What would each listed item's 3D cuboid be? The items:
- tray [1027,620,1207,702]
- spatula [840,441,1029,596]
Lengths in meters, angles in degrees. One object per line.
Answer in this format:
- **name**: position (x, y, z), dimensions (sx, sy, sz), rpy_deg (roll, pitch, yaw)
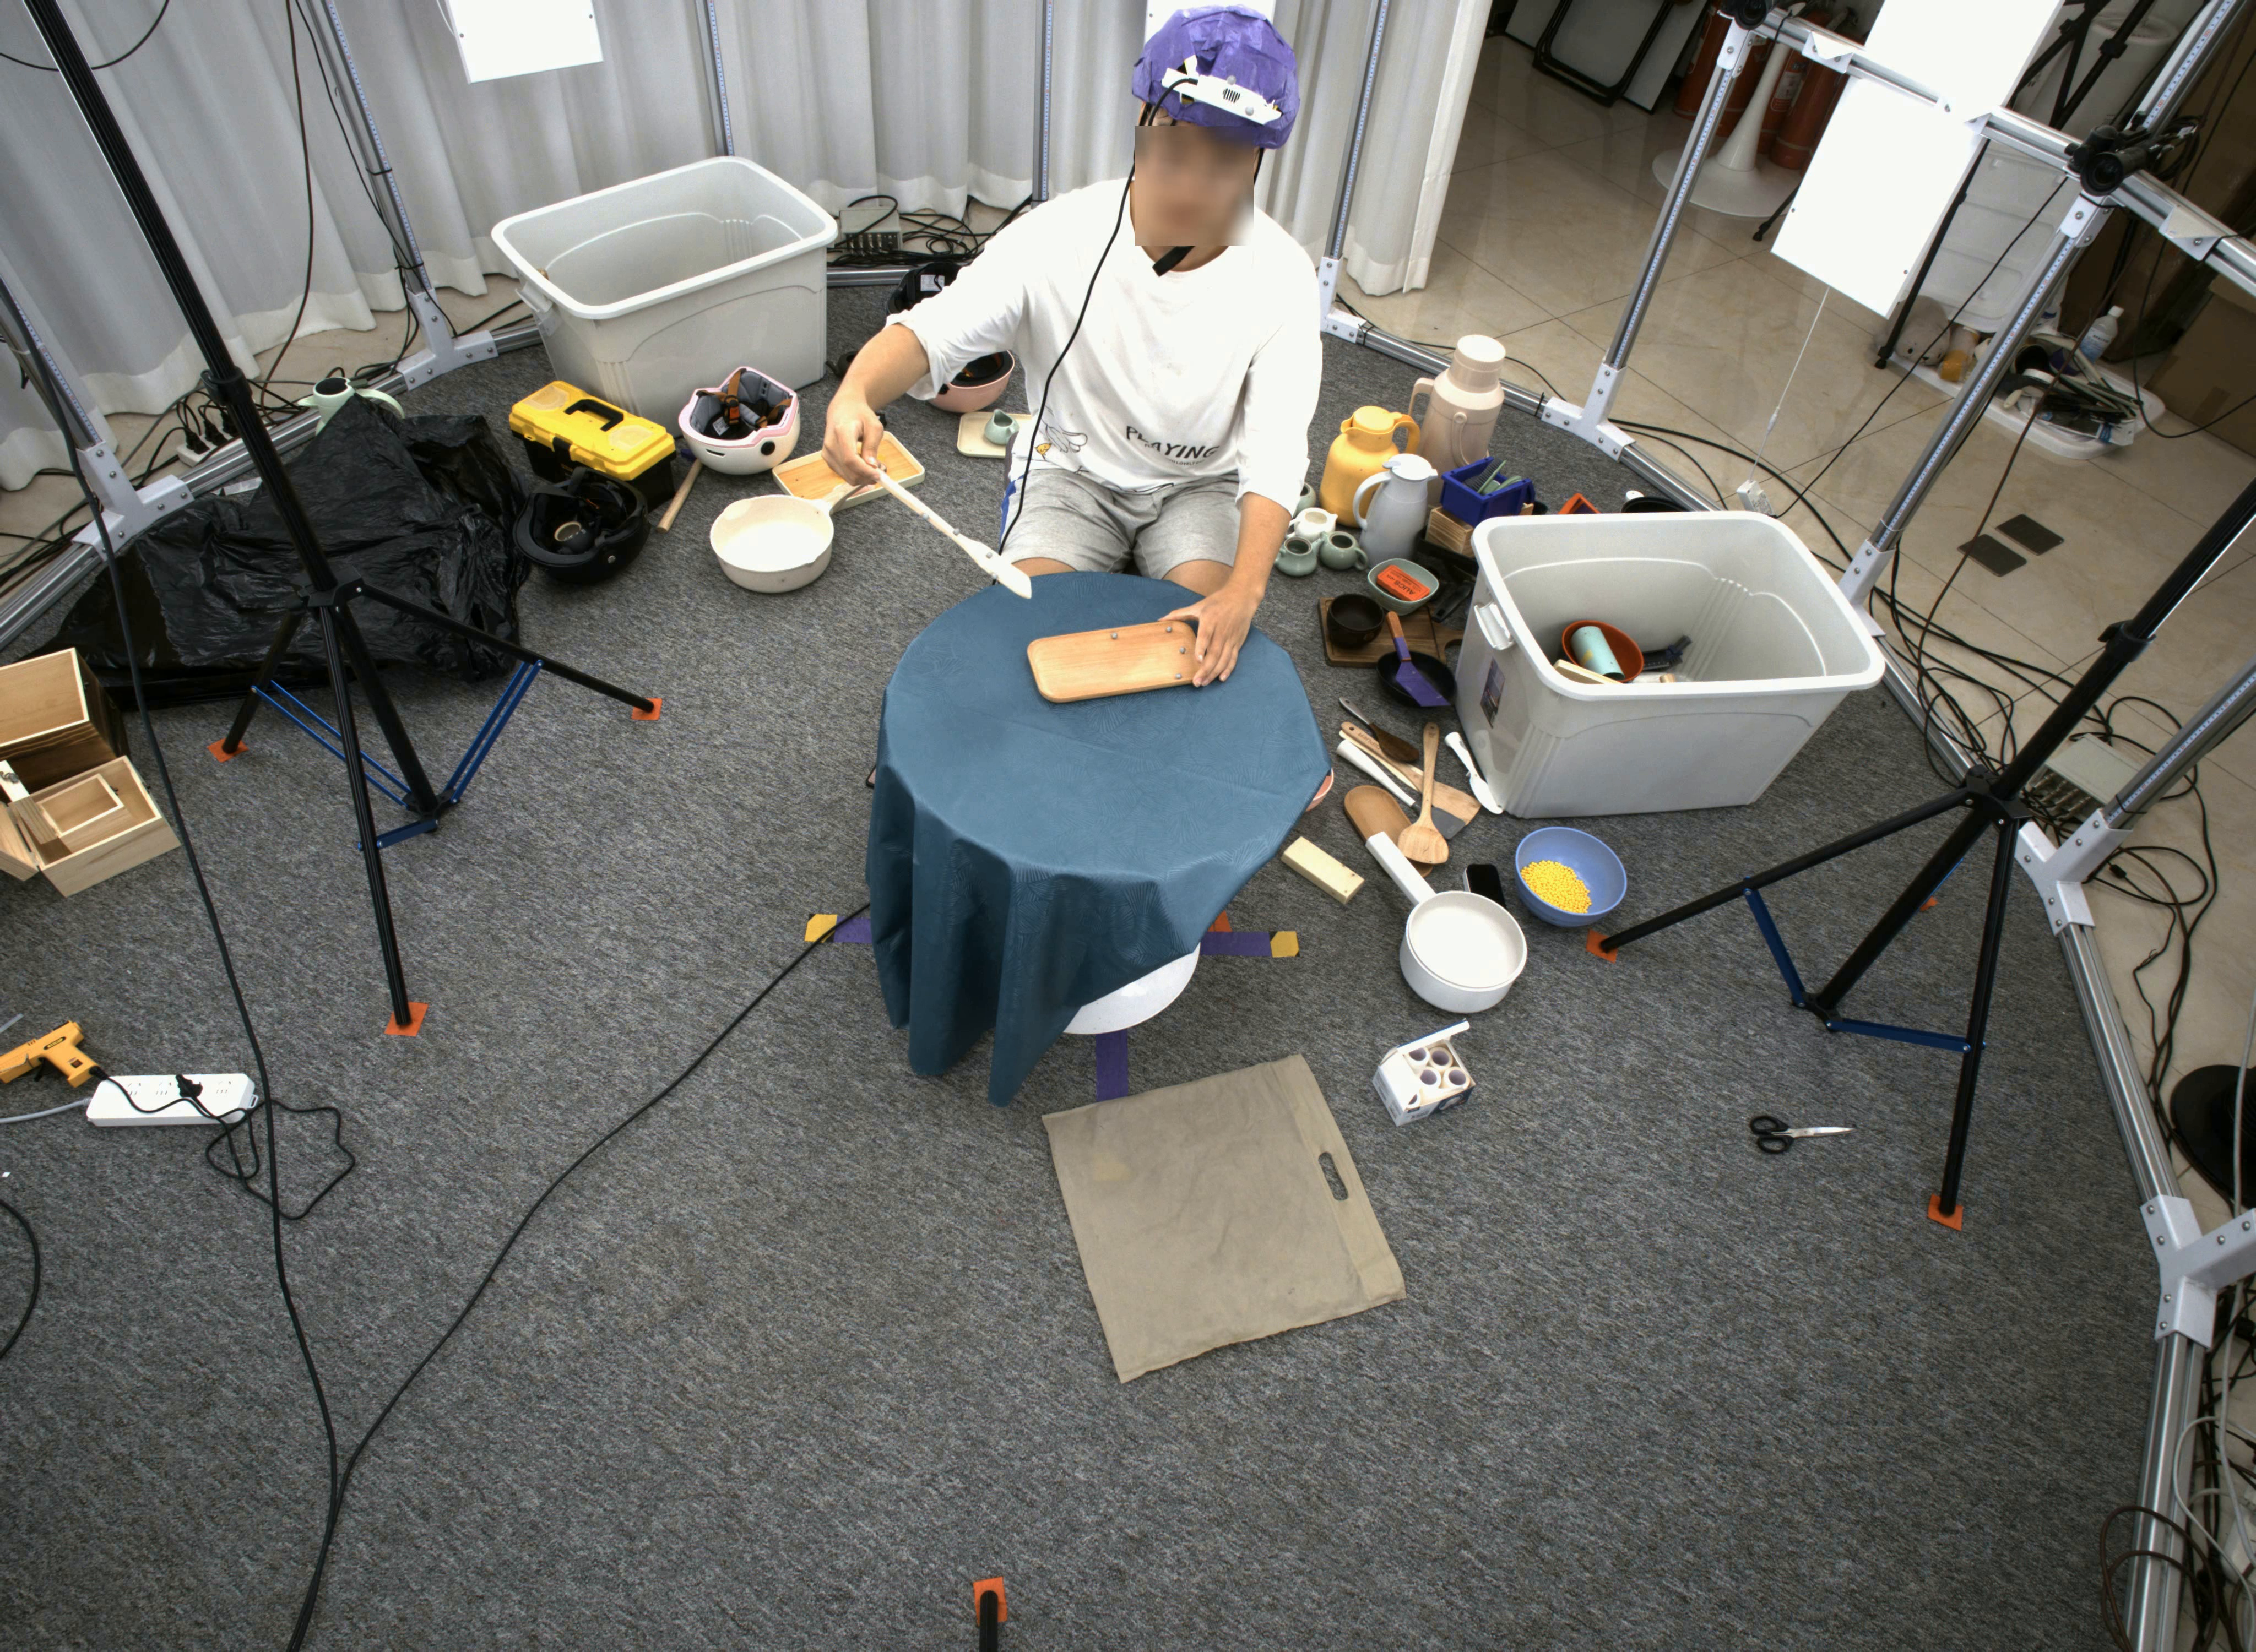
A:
- **tray**: position (-0.016, -0.240, 1.862), dimensions (0.250, 0.022, 0.134), rpy_deg (-9, 48, -11)
- **spatula**: position (-0.242, -0.392, 1.654), dimensions (0.289, 0.010, 0.074), rpy_deg (35, 25, -25)
